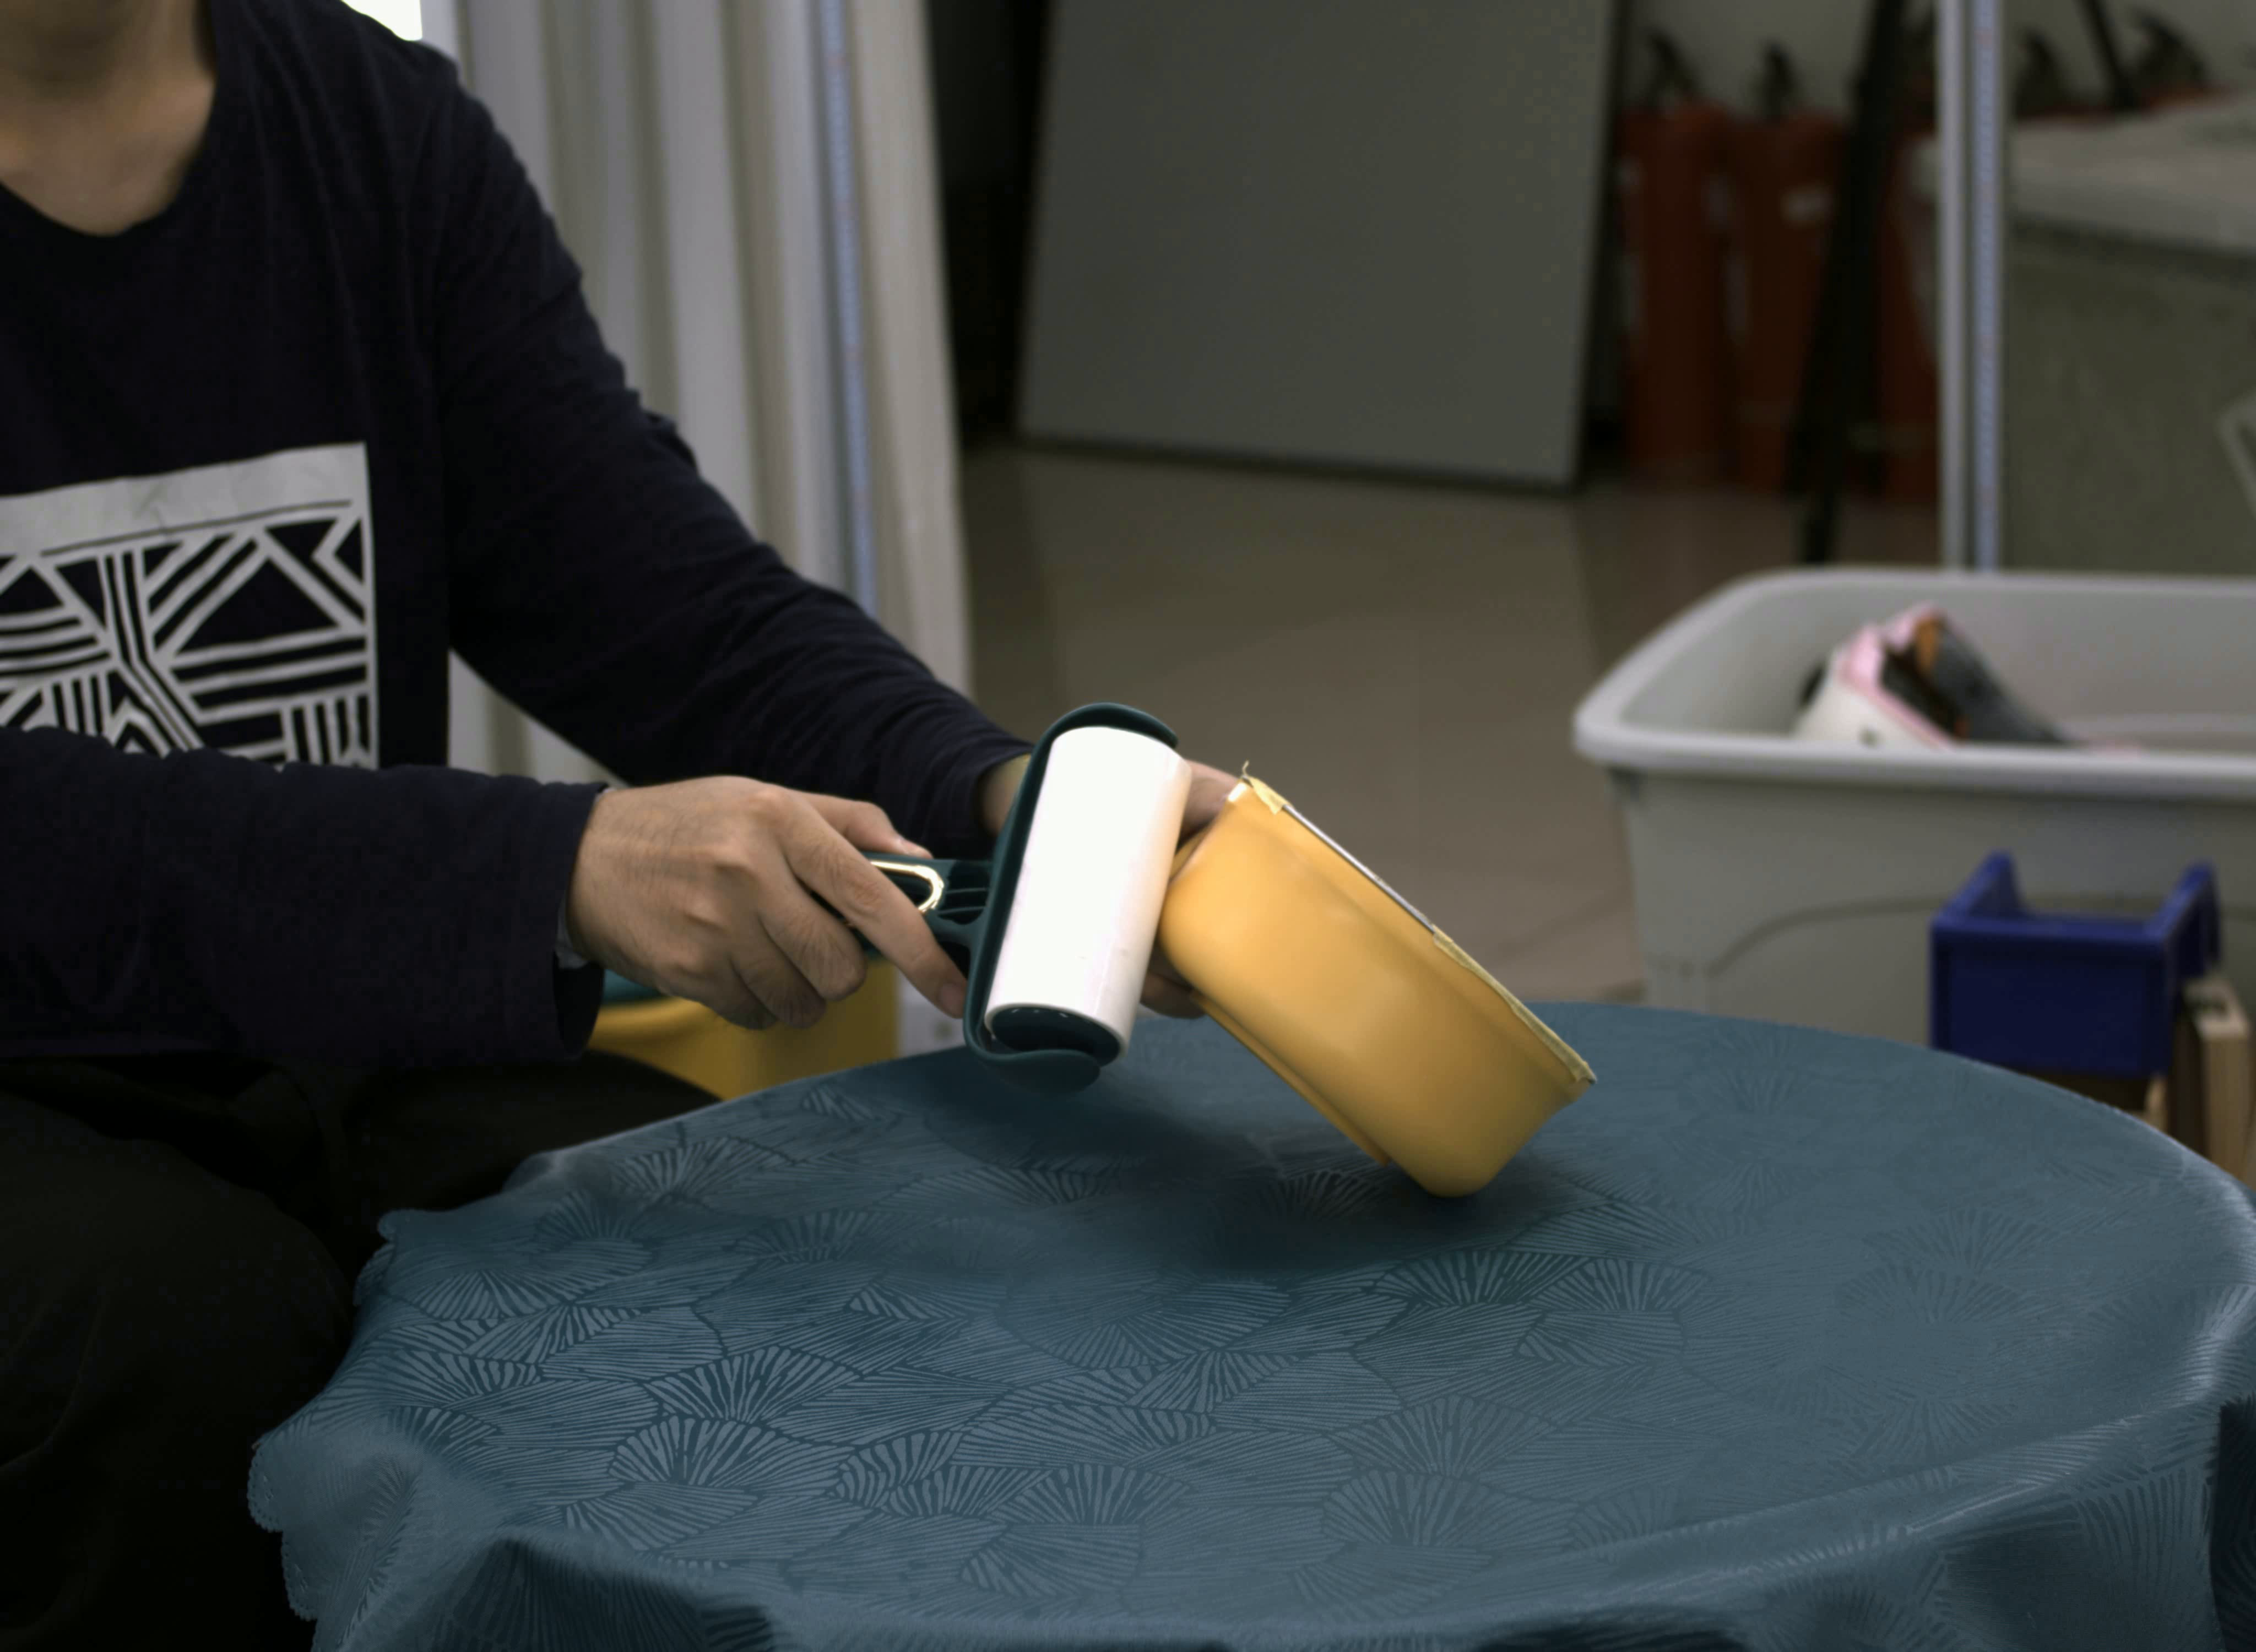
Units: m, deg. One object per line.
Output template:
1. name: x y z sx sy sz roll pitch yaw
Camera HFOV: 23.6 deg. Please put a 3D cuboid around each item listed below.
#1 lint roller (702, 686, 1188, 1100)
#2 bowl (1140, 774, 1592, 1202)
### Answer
1. lint roller: -0.071 0.023 1.746 0.180 0.135 0.048 -1 -29 29
2. bowl: 0.065 0.053 1.749 0.150 0.074 0.181 39 0 -43
